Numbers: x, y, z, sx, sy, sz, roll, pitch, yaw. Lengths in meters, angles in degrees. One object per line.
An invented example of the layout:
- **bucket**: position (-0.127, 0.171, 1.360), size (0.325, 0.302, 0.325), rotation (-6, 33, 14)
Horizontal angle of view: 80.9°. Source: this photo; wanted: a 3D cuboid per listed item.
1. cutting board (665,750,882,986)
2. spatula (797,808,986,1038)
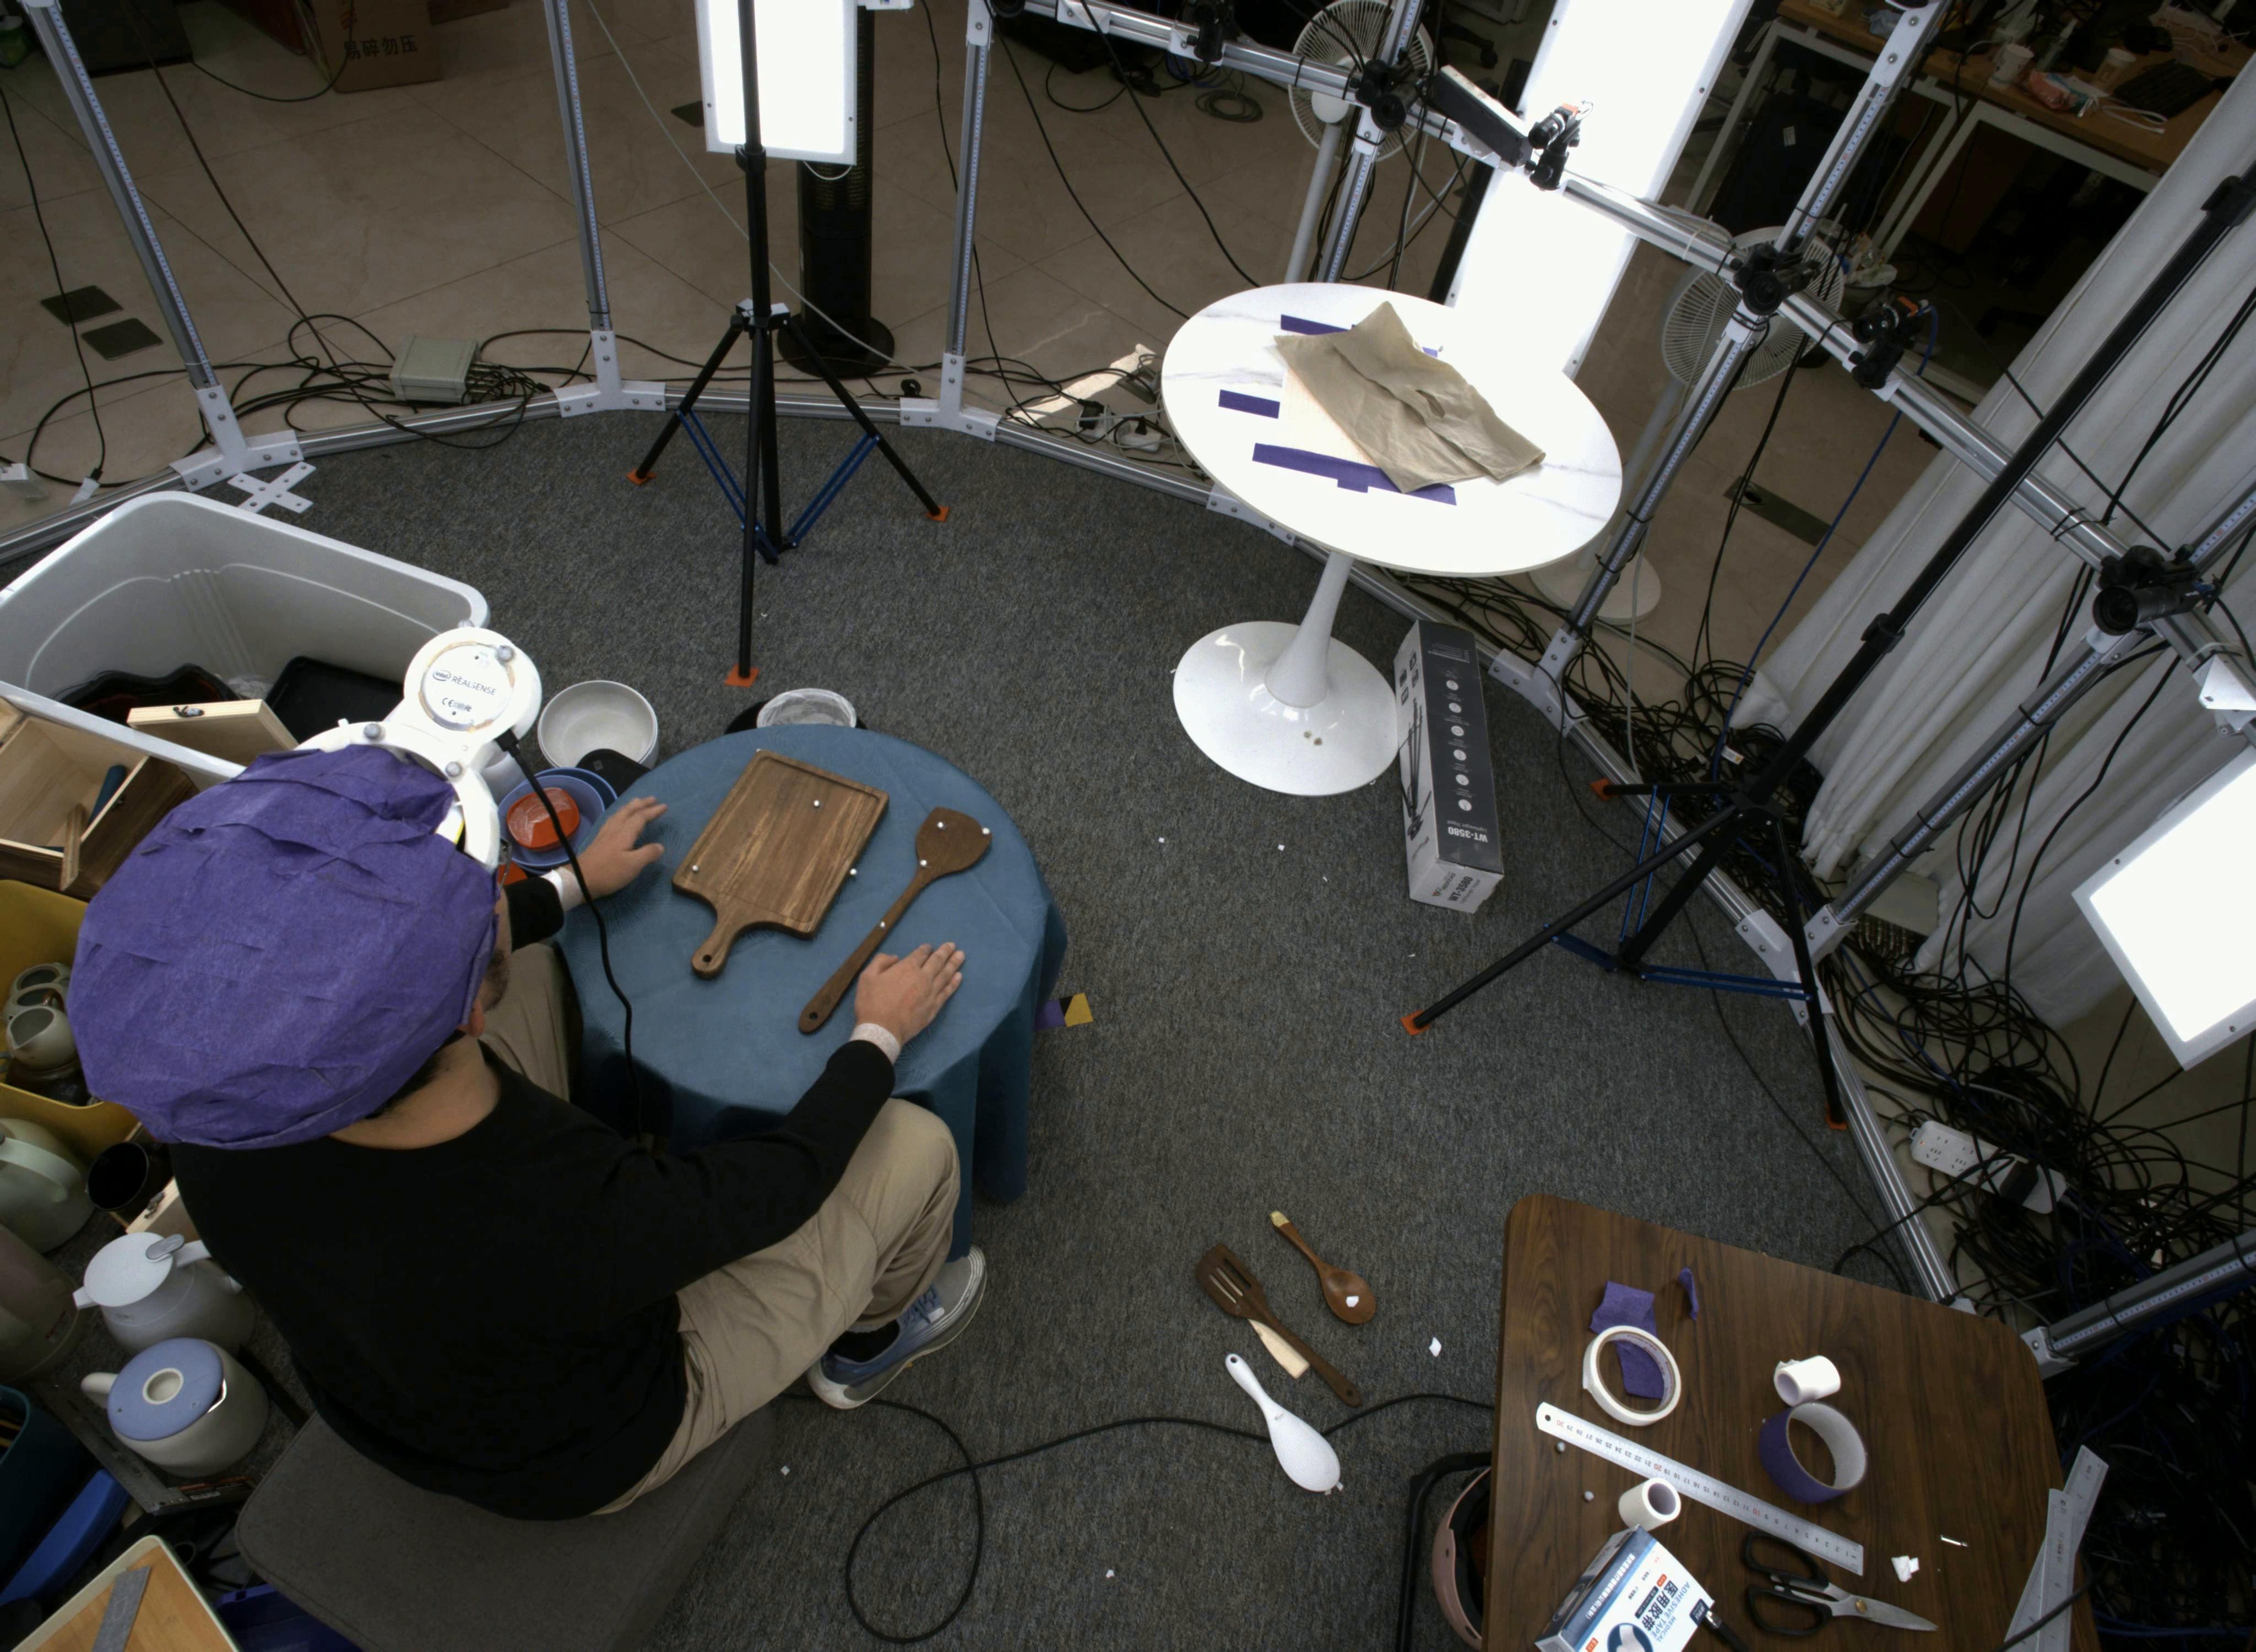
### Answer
- **cutting board**: position (-0.469, 0.054, 1.653), size (0.199, 0.023, 0.348), rotation (20, 52, 1)
- **spatula**: position (-0.306, 0.116, 1.654), size (0.094, 0.016, 0.384), rotation (27, 52, 7)
